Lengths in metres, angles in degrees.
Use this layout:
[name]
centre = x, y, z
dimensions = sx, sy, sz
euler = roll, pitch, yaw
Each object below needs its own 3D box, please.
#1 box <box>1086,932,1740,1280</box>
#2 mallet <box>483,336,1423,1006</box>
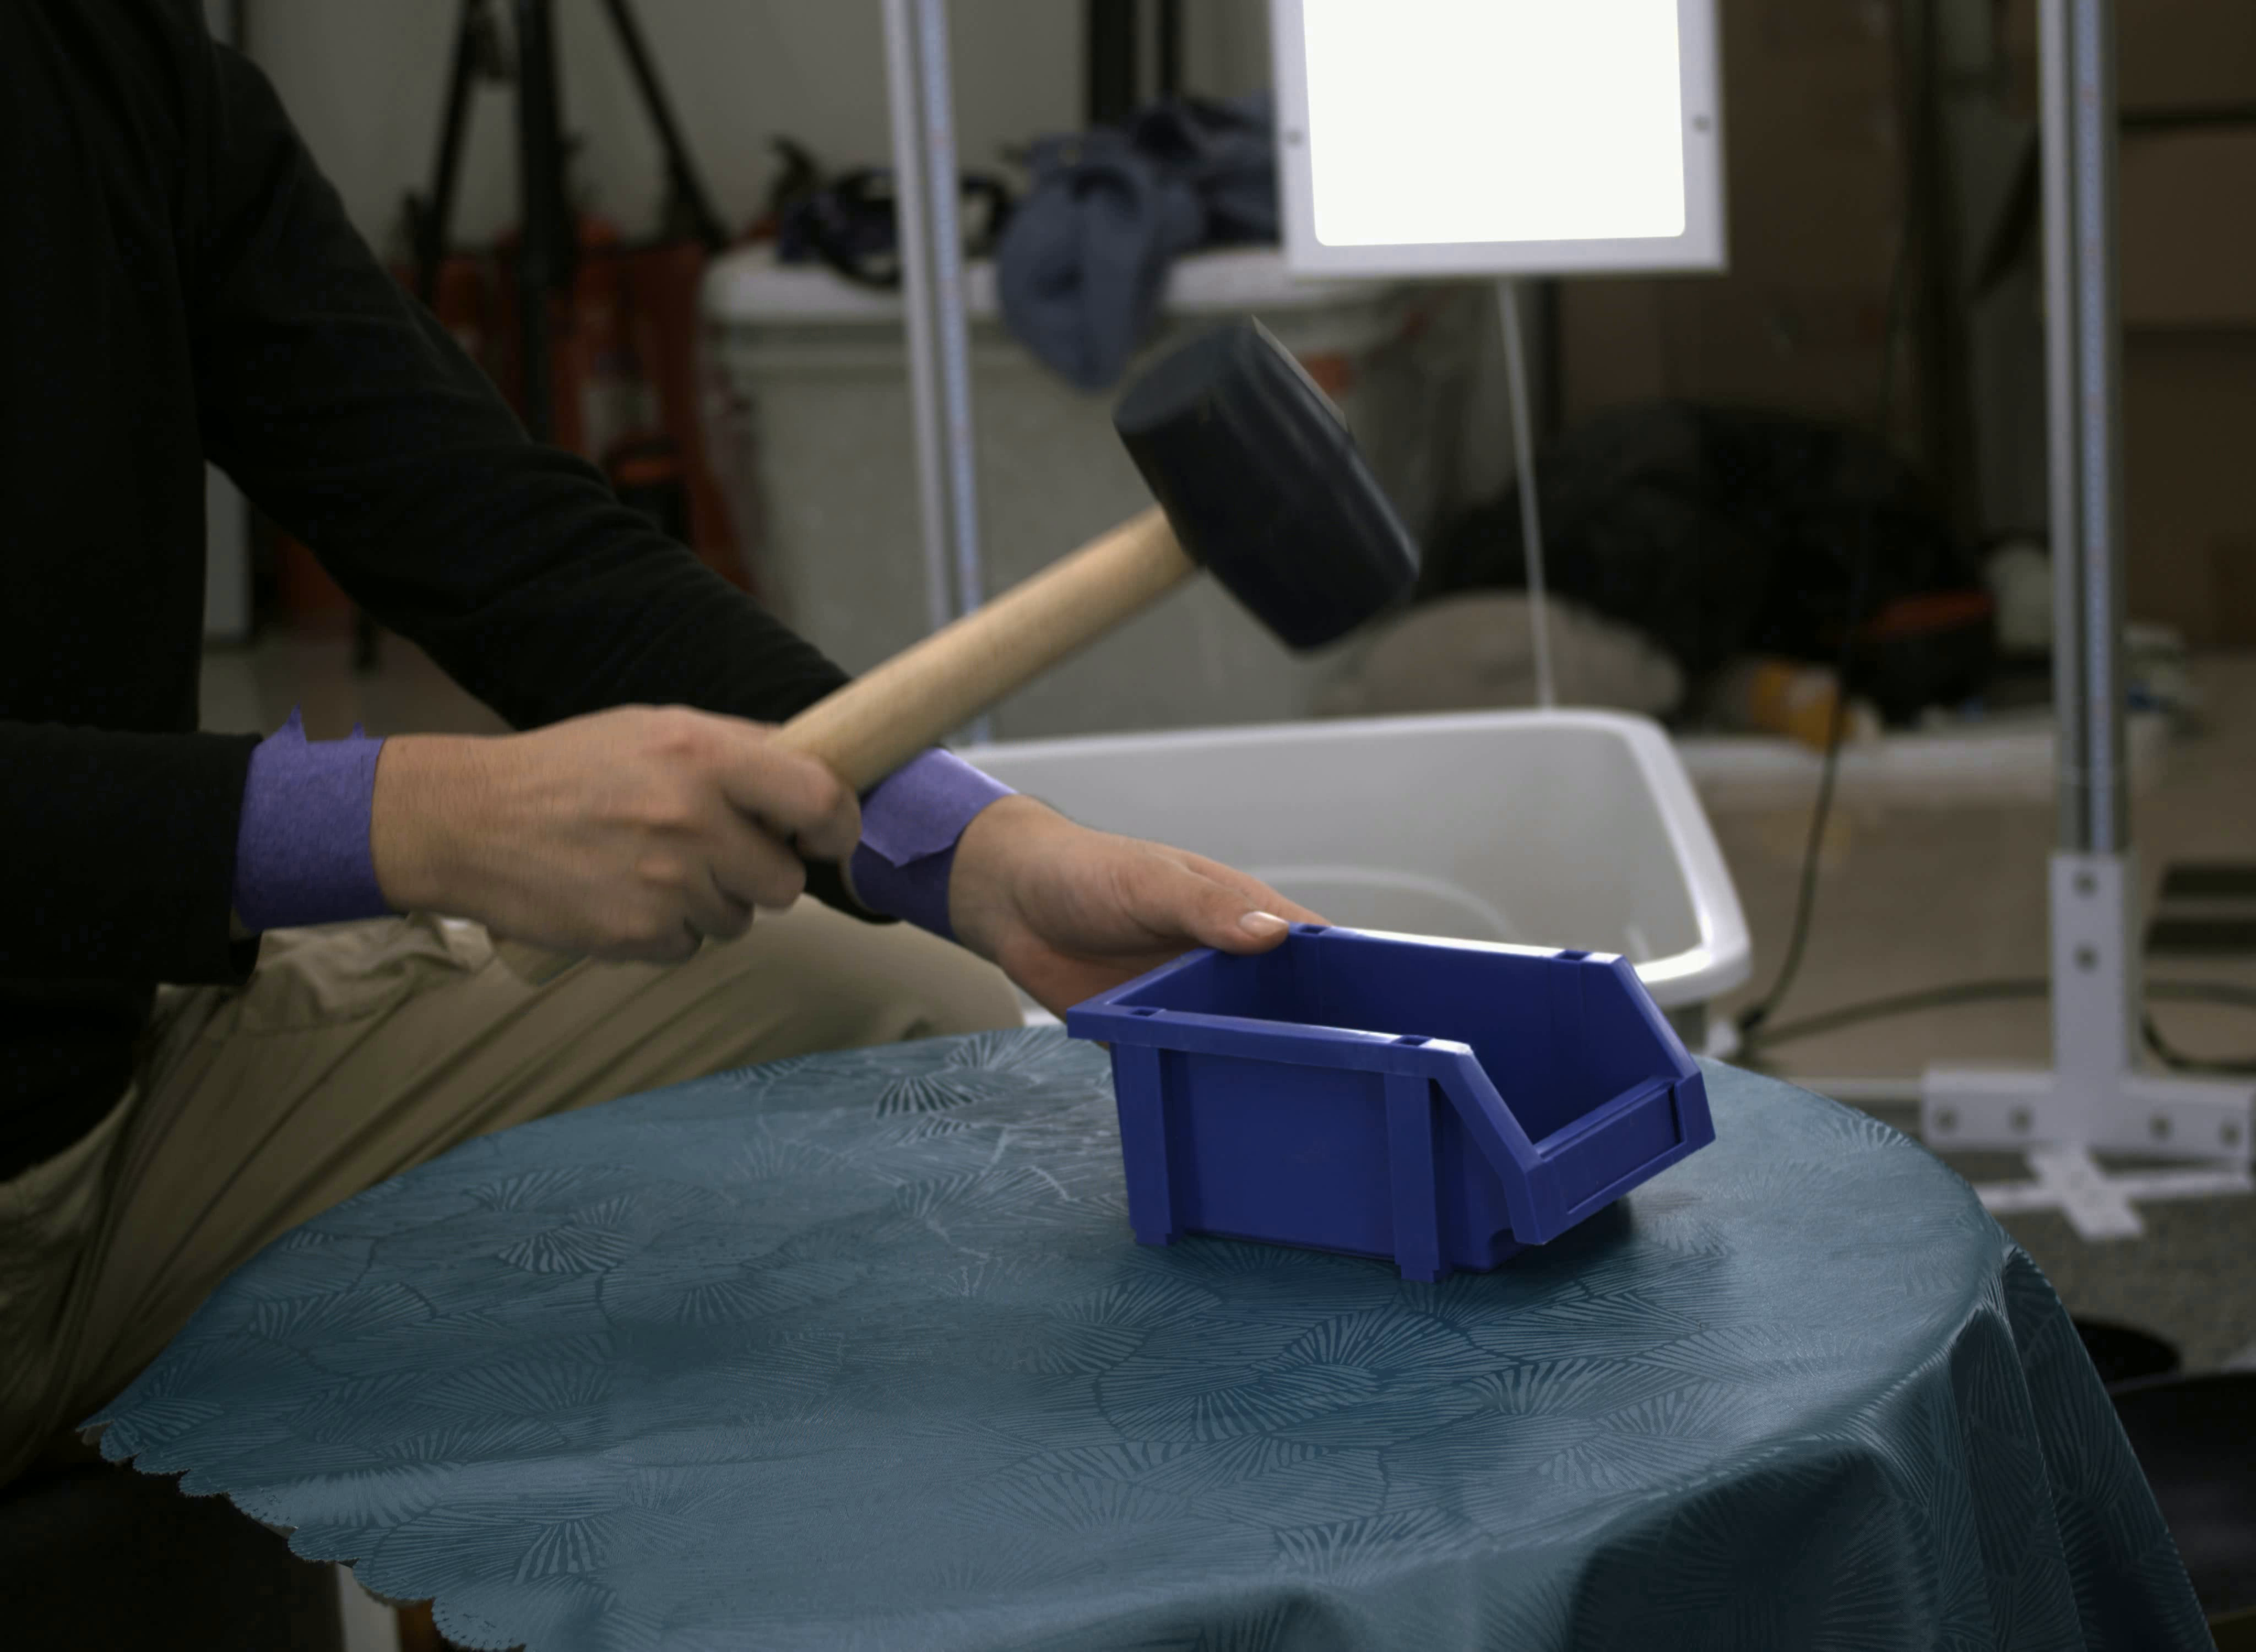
[box]
centre = 0.098, 0.091, 1.836
dimensions = 0.183, 0.082, 0.121
euler = 1, 15, 37
[mallet]
centre = -0.068, -0.038, 1.794
dimensions = 0.344, 0.101, 0.063
euler = -29, 19, 23
